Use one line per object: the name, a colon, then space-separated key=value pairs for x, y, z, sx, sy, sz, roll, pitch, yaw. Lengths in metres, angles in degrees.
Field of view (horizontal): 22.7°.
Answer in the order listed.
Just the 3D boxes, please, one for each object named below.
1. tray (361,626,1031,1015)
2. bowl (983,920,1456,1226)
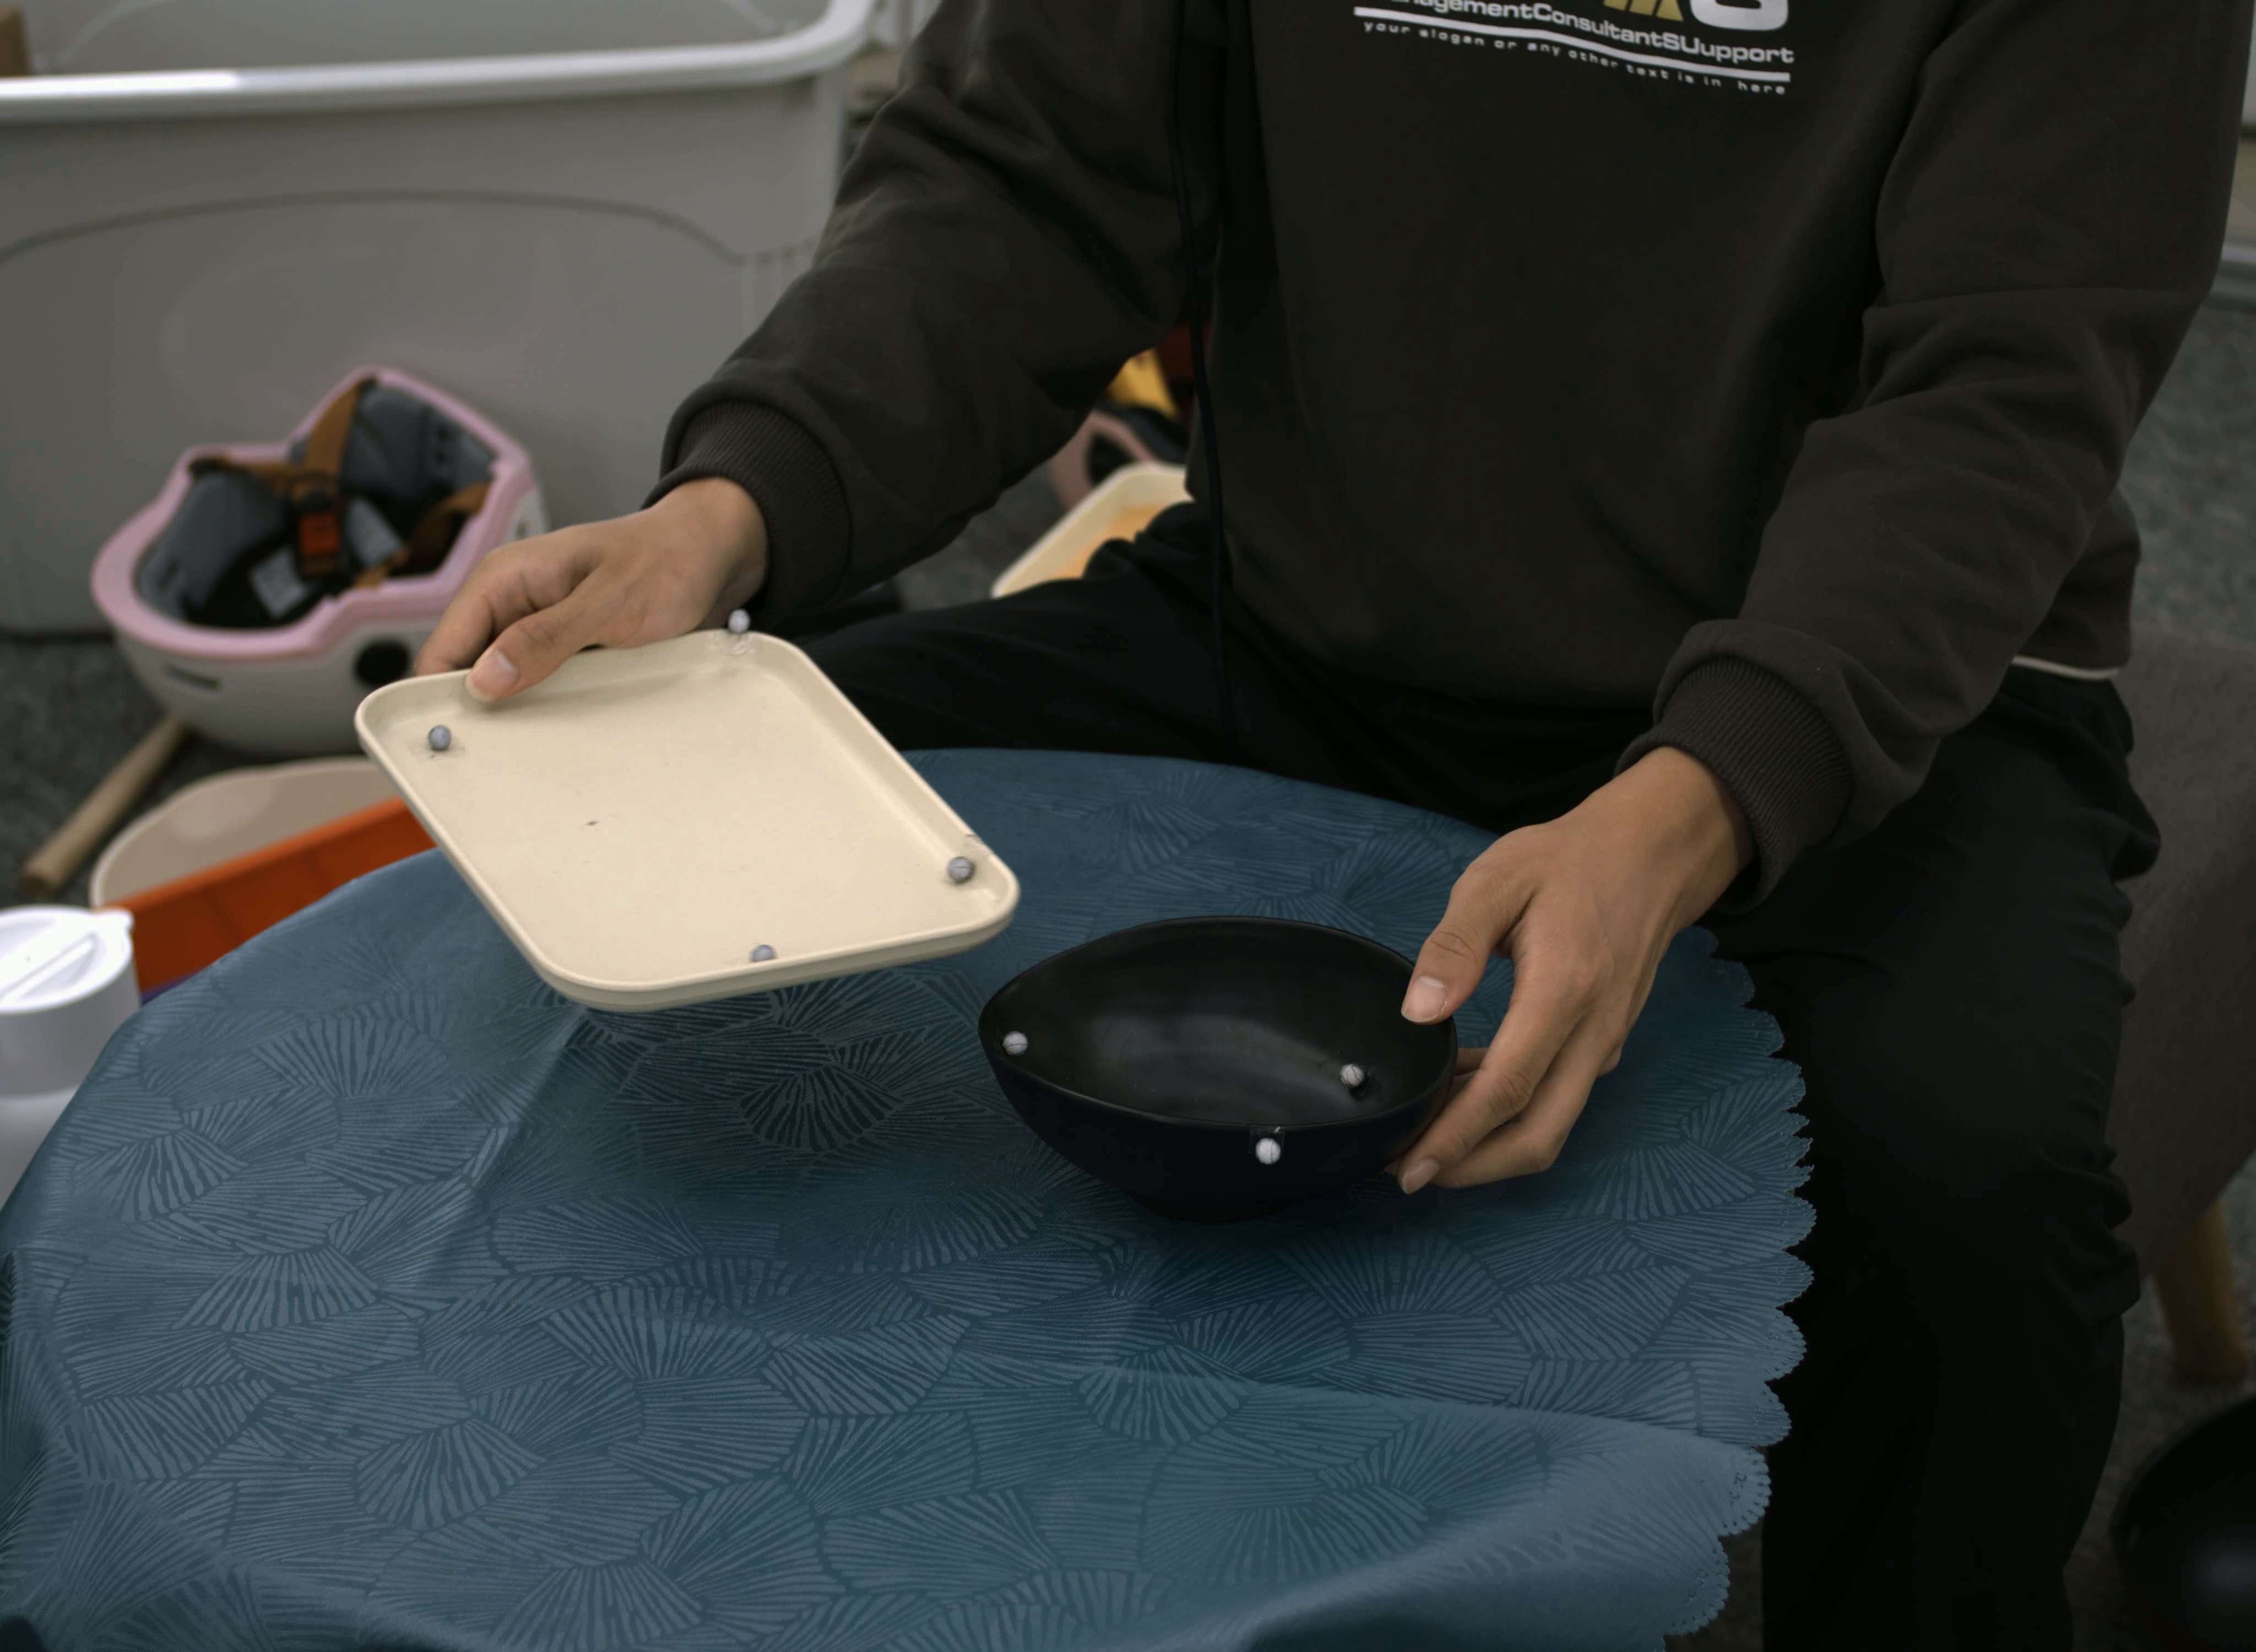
tray: x=-0.150 y=-0.003 z=1.924 sx=0.172 sy=0.017 sz=0.241 roll=-11 pitch=31 yaw=-25
bowl: x=0.029 y=0.090 z=1.859 sx=0.169 sy=0.066 sz=0.139 roll=13 pitch=30 yaw=31
